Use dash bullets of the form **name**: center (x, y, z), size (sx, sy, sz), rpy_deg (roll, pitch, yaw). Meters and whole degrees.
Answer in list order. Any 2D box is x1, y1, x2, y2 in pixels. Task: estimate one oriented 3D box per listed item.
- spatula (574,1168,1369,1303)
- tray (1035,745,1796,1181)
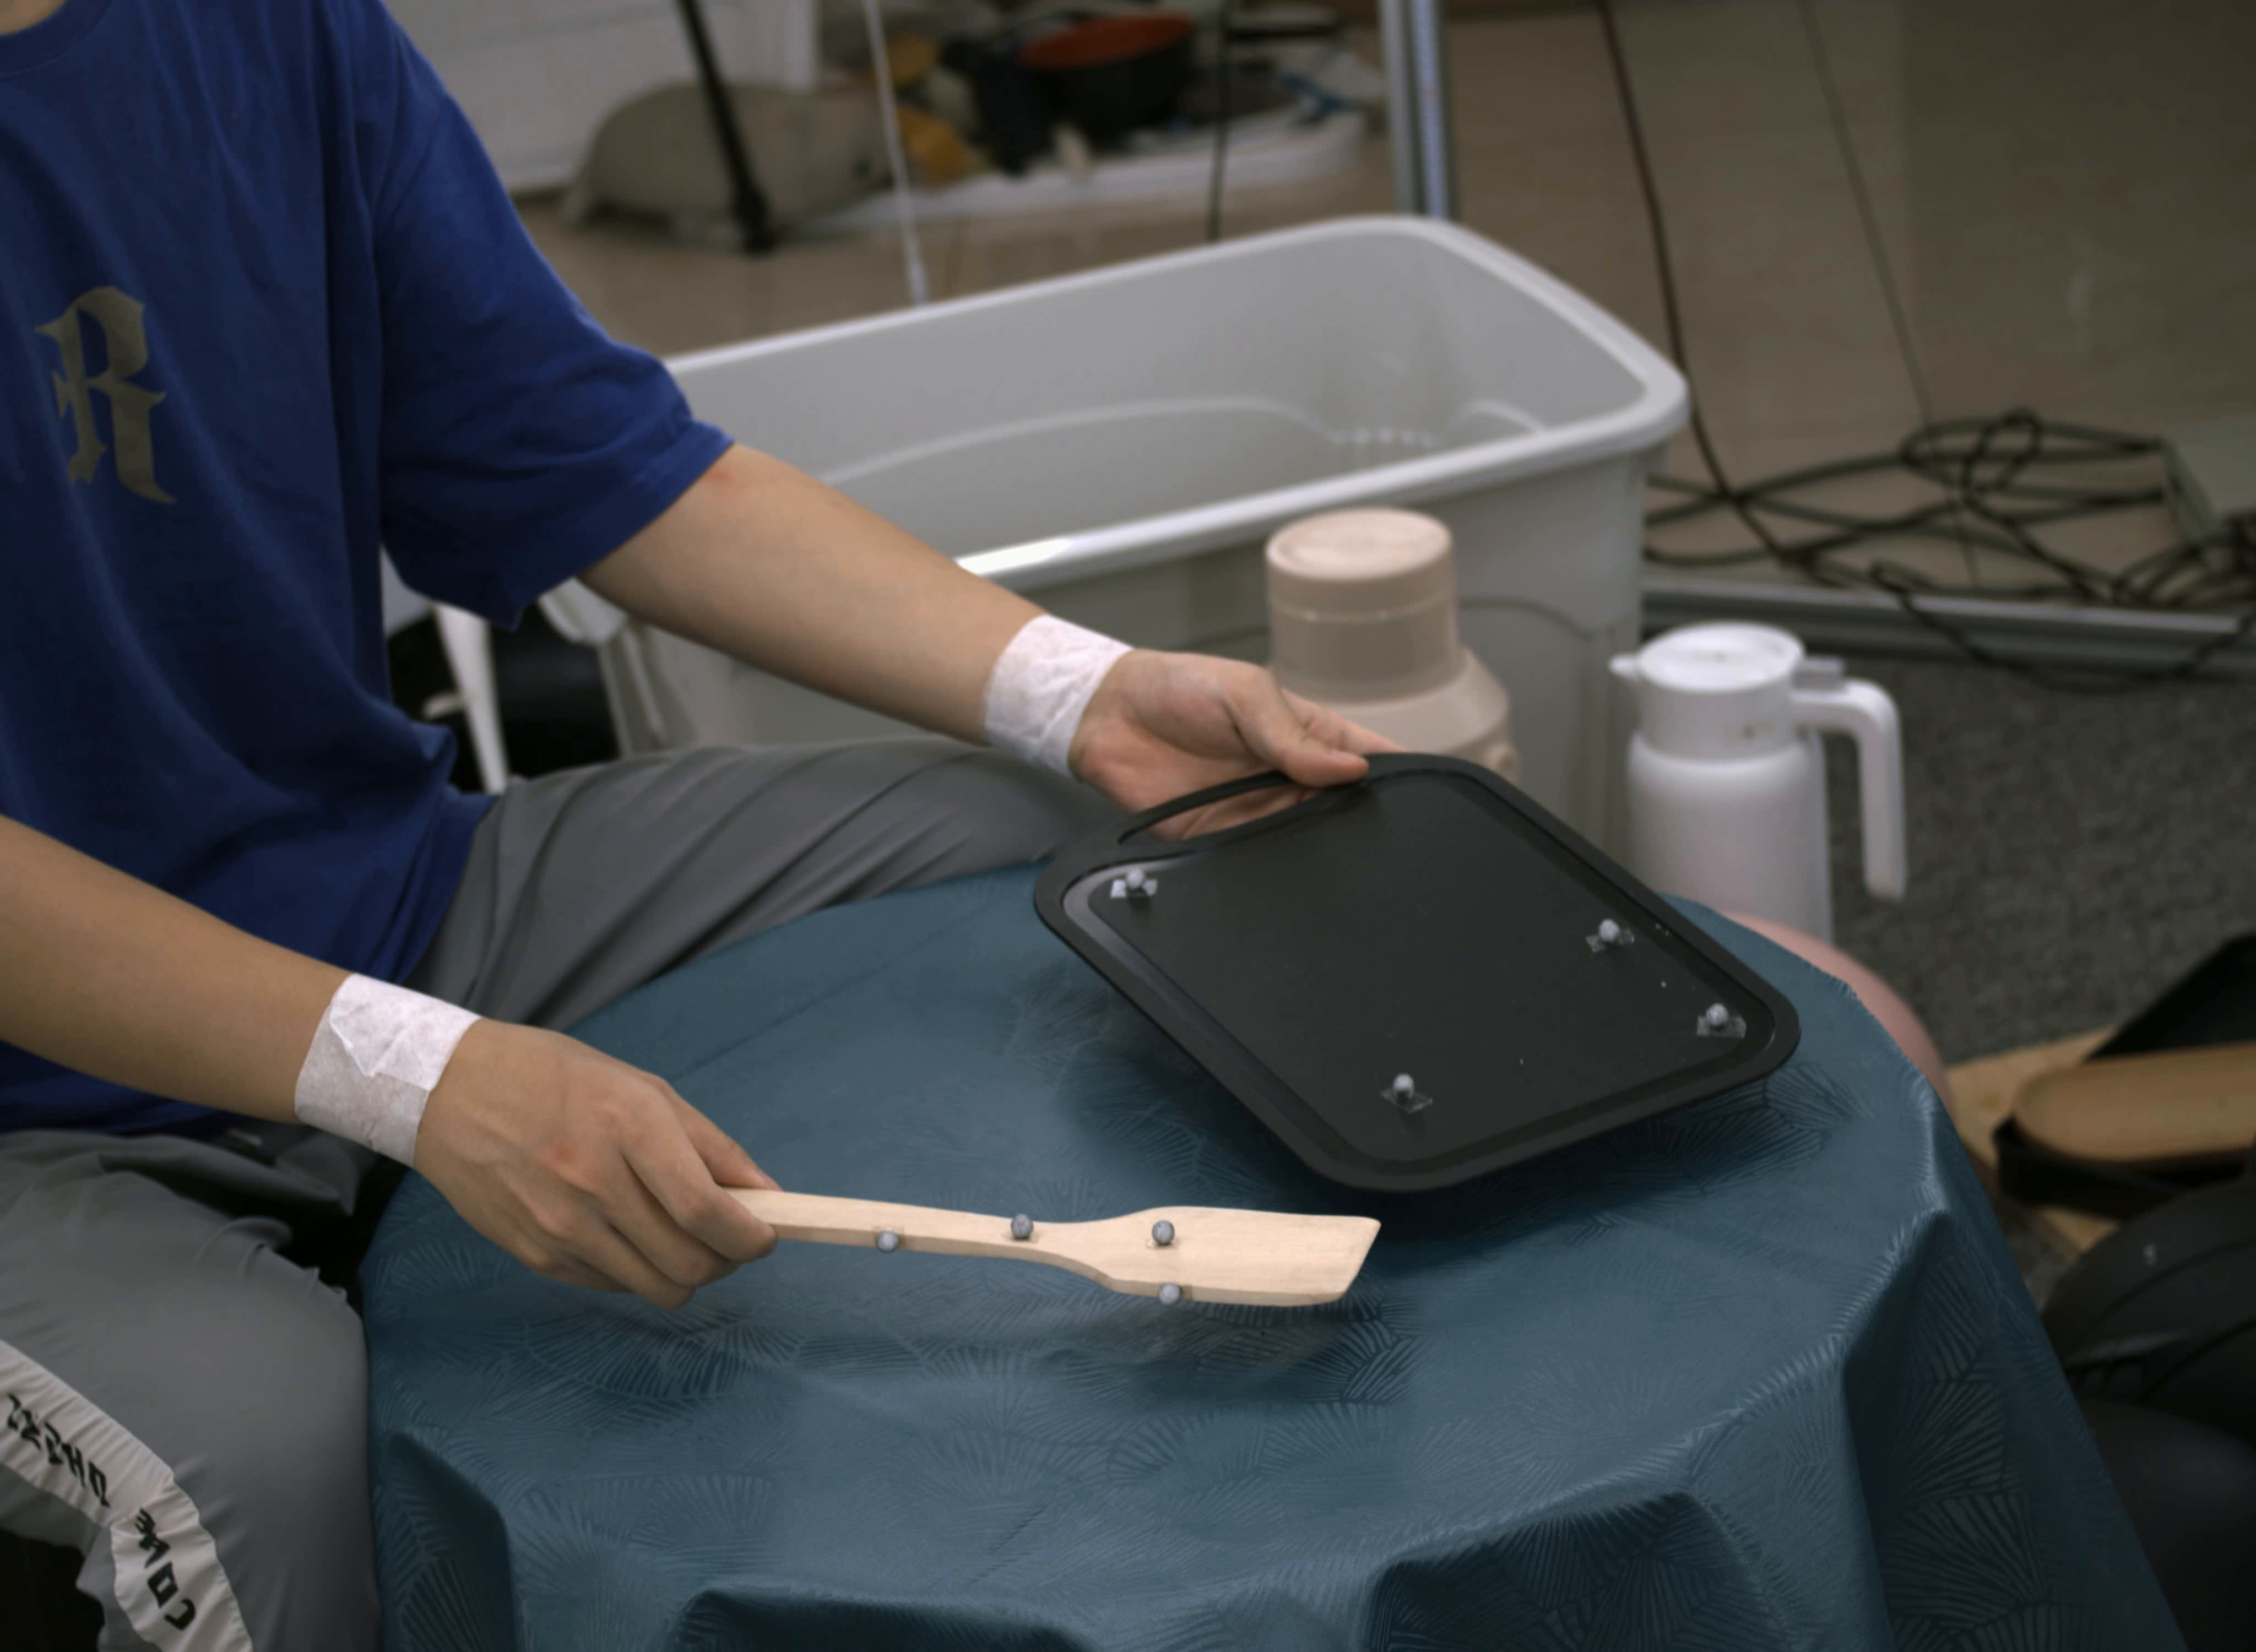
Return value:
- **spatula**: center (-0.061, 0.145, 2.051), size (0.292, 0.011, 0.071), rpy_deg (4, 21, 13)
- **tray**: center (0.102, 0.045, 2.213), size (0.210, 0.010, 0.321), rpy_deg (-18, 31, -20)
